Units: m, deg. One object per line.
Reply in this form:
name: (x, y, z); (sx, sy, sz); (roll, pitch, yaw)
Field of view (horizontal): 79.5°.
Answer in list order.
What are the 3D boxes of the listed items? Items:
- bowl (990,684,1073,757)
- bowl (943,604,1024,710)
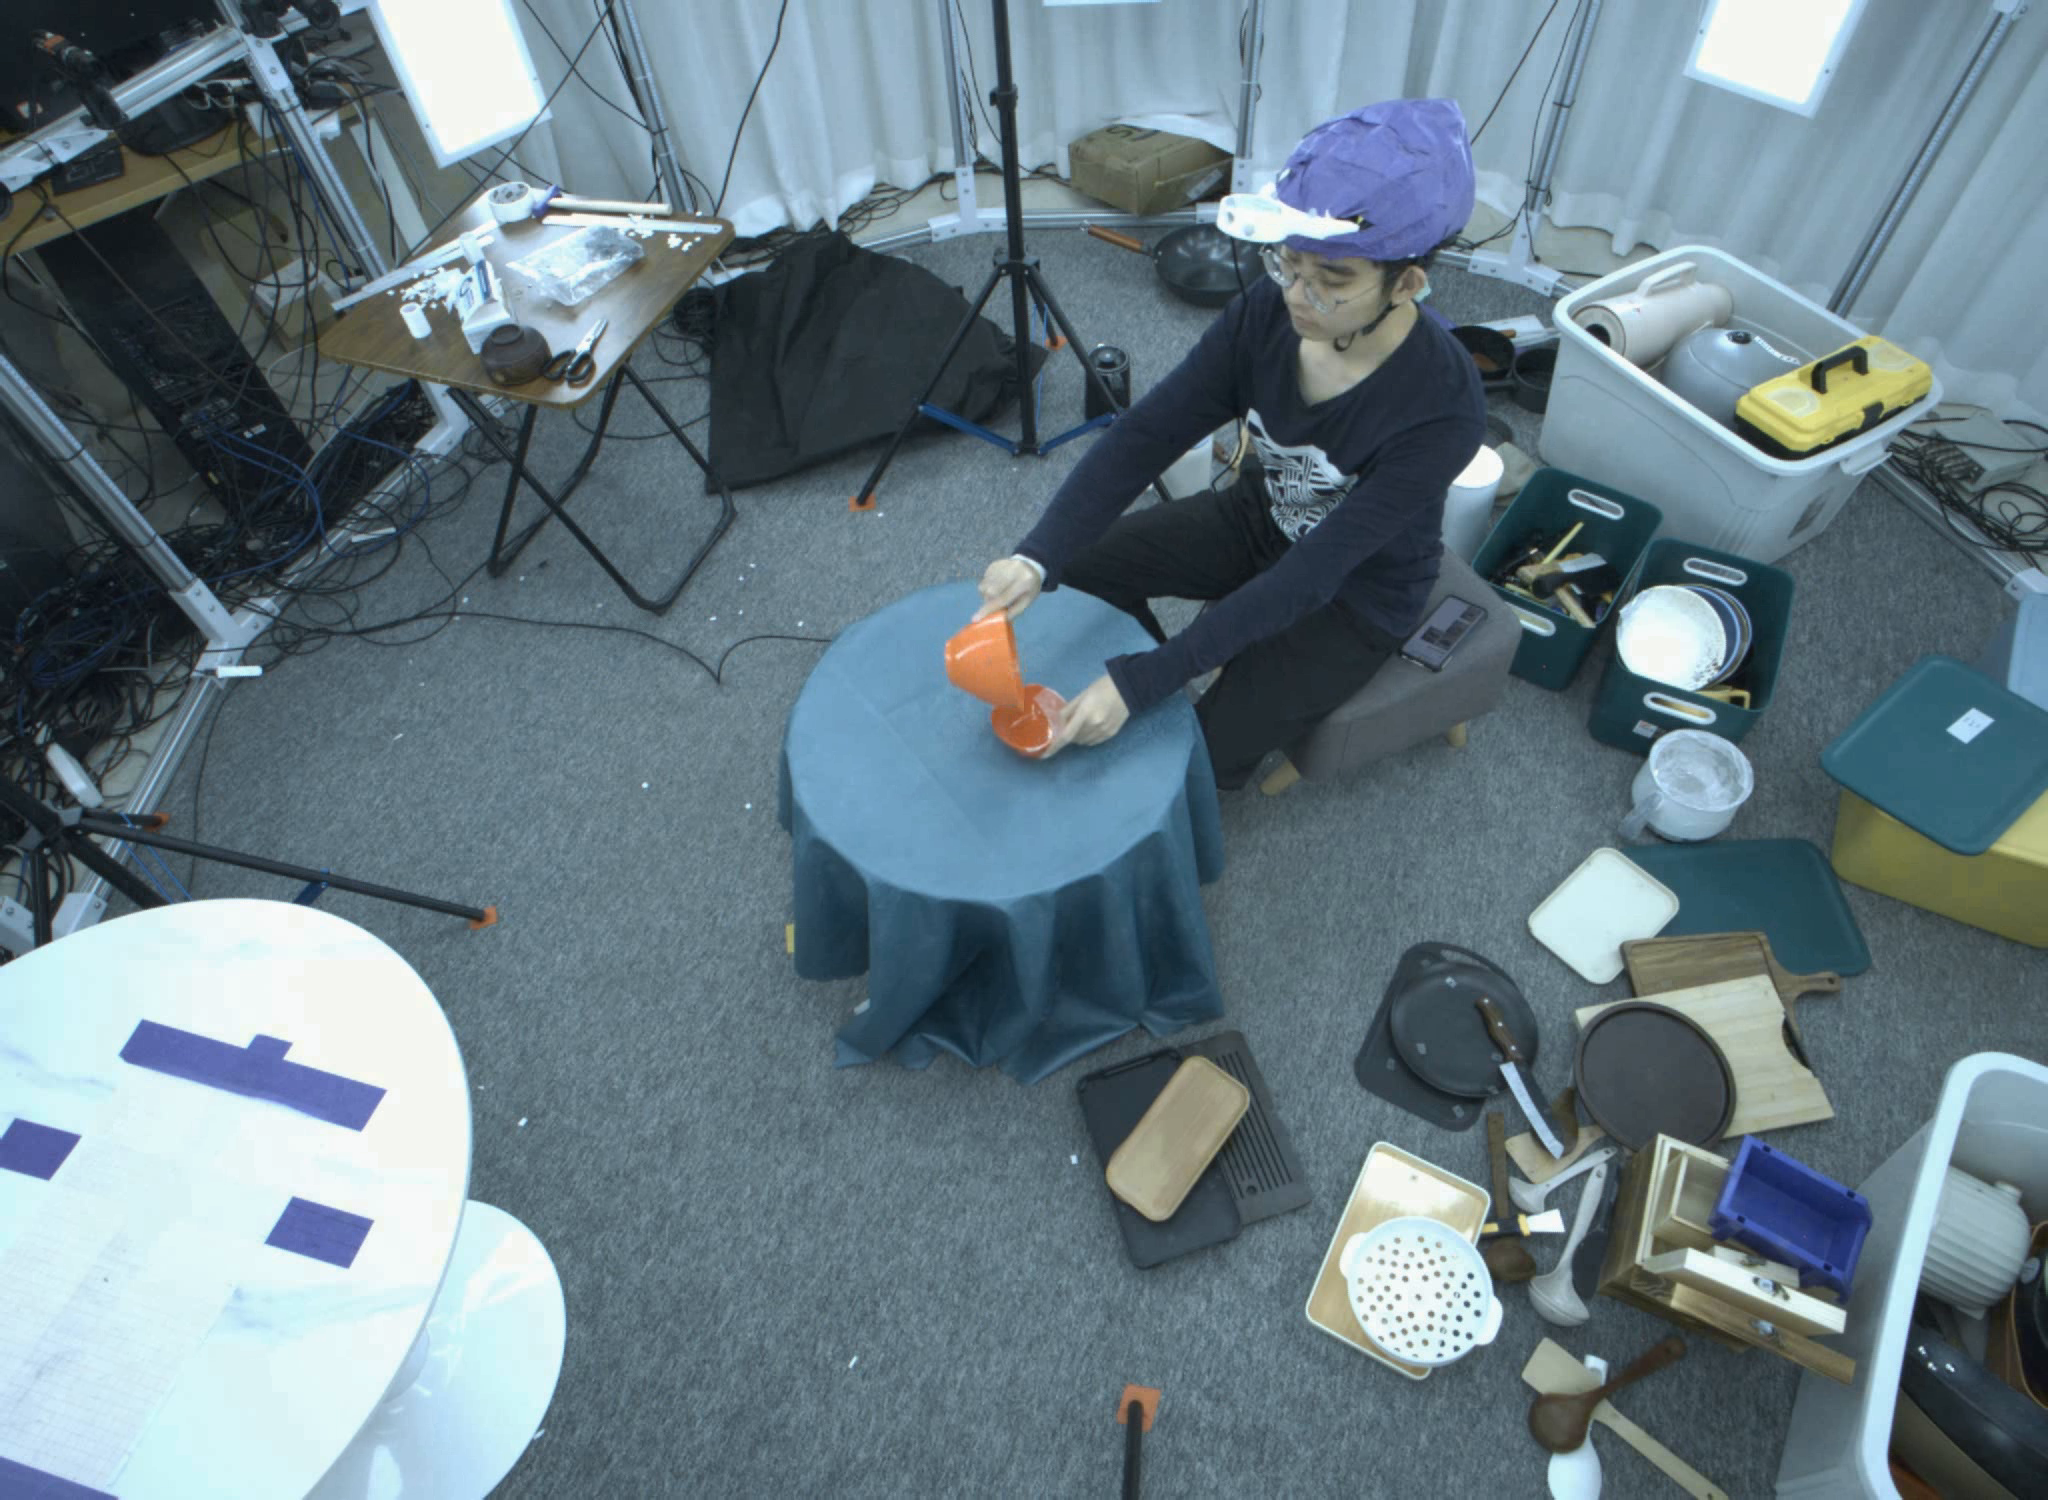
bowl: (0.012, -0.036, 1.789); (0.119, 0.052, 0.117); (-1, 53, 3)
bowl: (-0.056, -0.124, 1.706); (0.103, 0.151, 0.146); (-7, 53, 15)
